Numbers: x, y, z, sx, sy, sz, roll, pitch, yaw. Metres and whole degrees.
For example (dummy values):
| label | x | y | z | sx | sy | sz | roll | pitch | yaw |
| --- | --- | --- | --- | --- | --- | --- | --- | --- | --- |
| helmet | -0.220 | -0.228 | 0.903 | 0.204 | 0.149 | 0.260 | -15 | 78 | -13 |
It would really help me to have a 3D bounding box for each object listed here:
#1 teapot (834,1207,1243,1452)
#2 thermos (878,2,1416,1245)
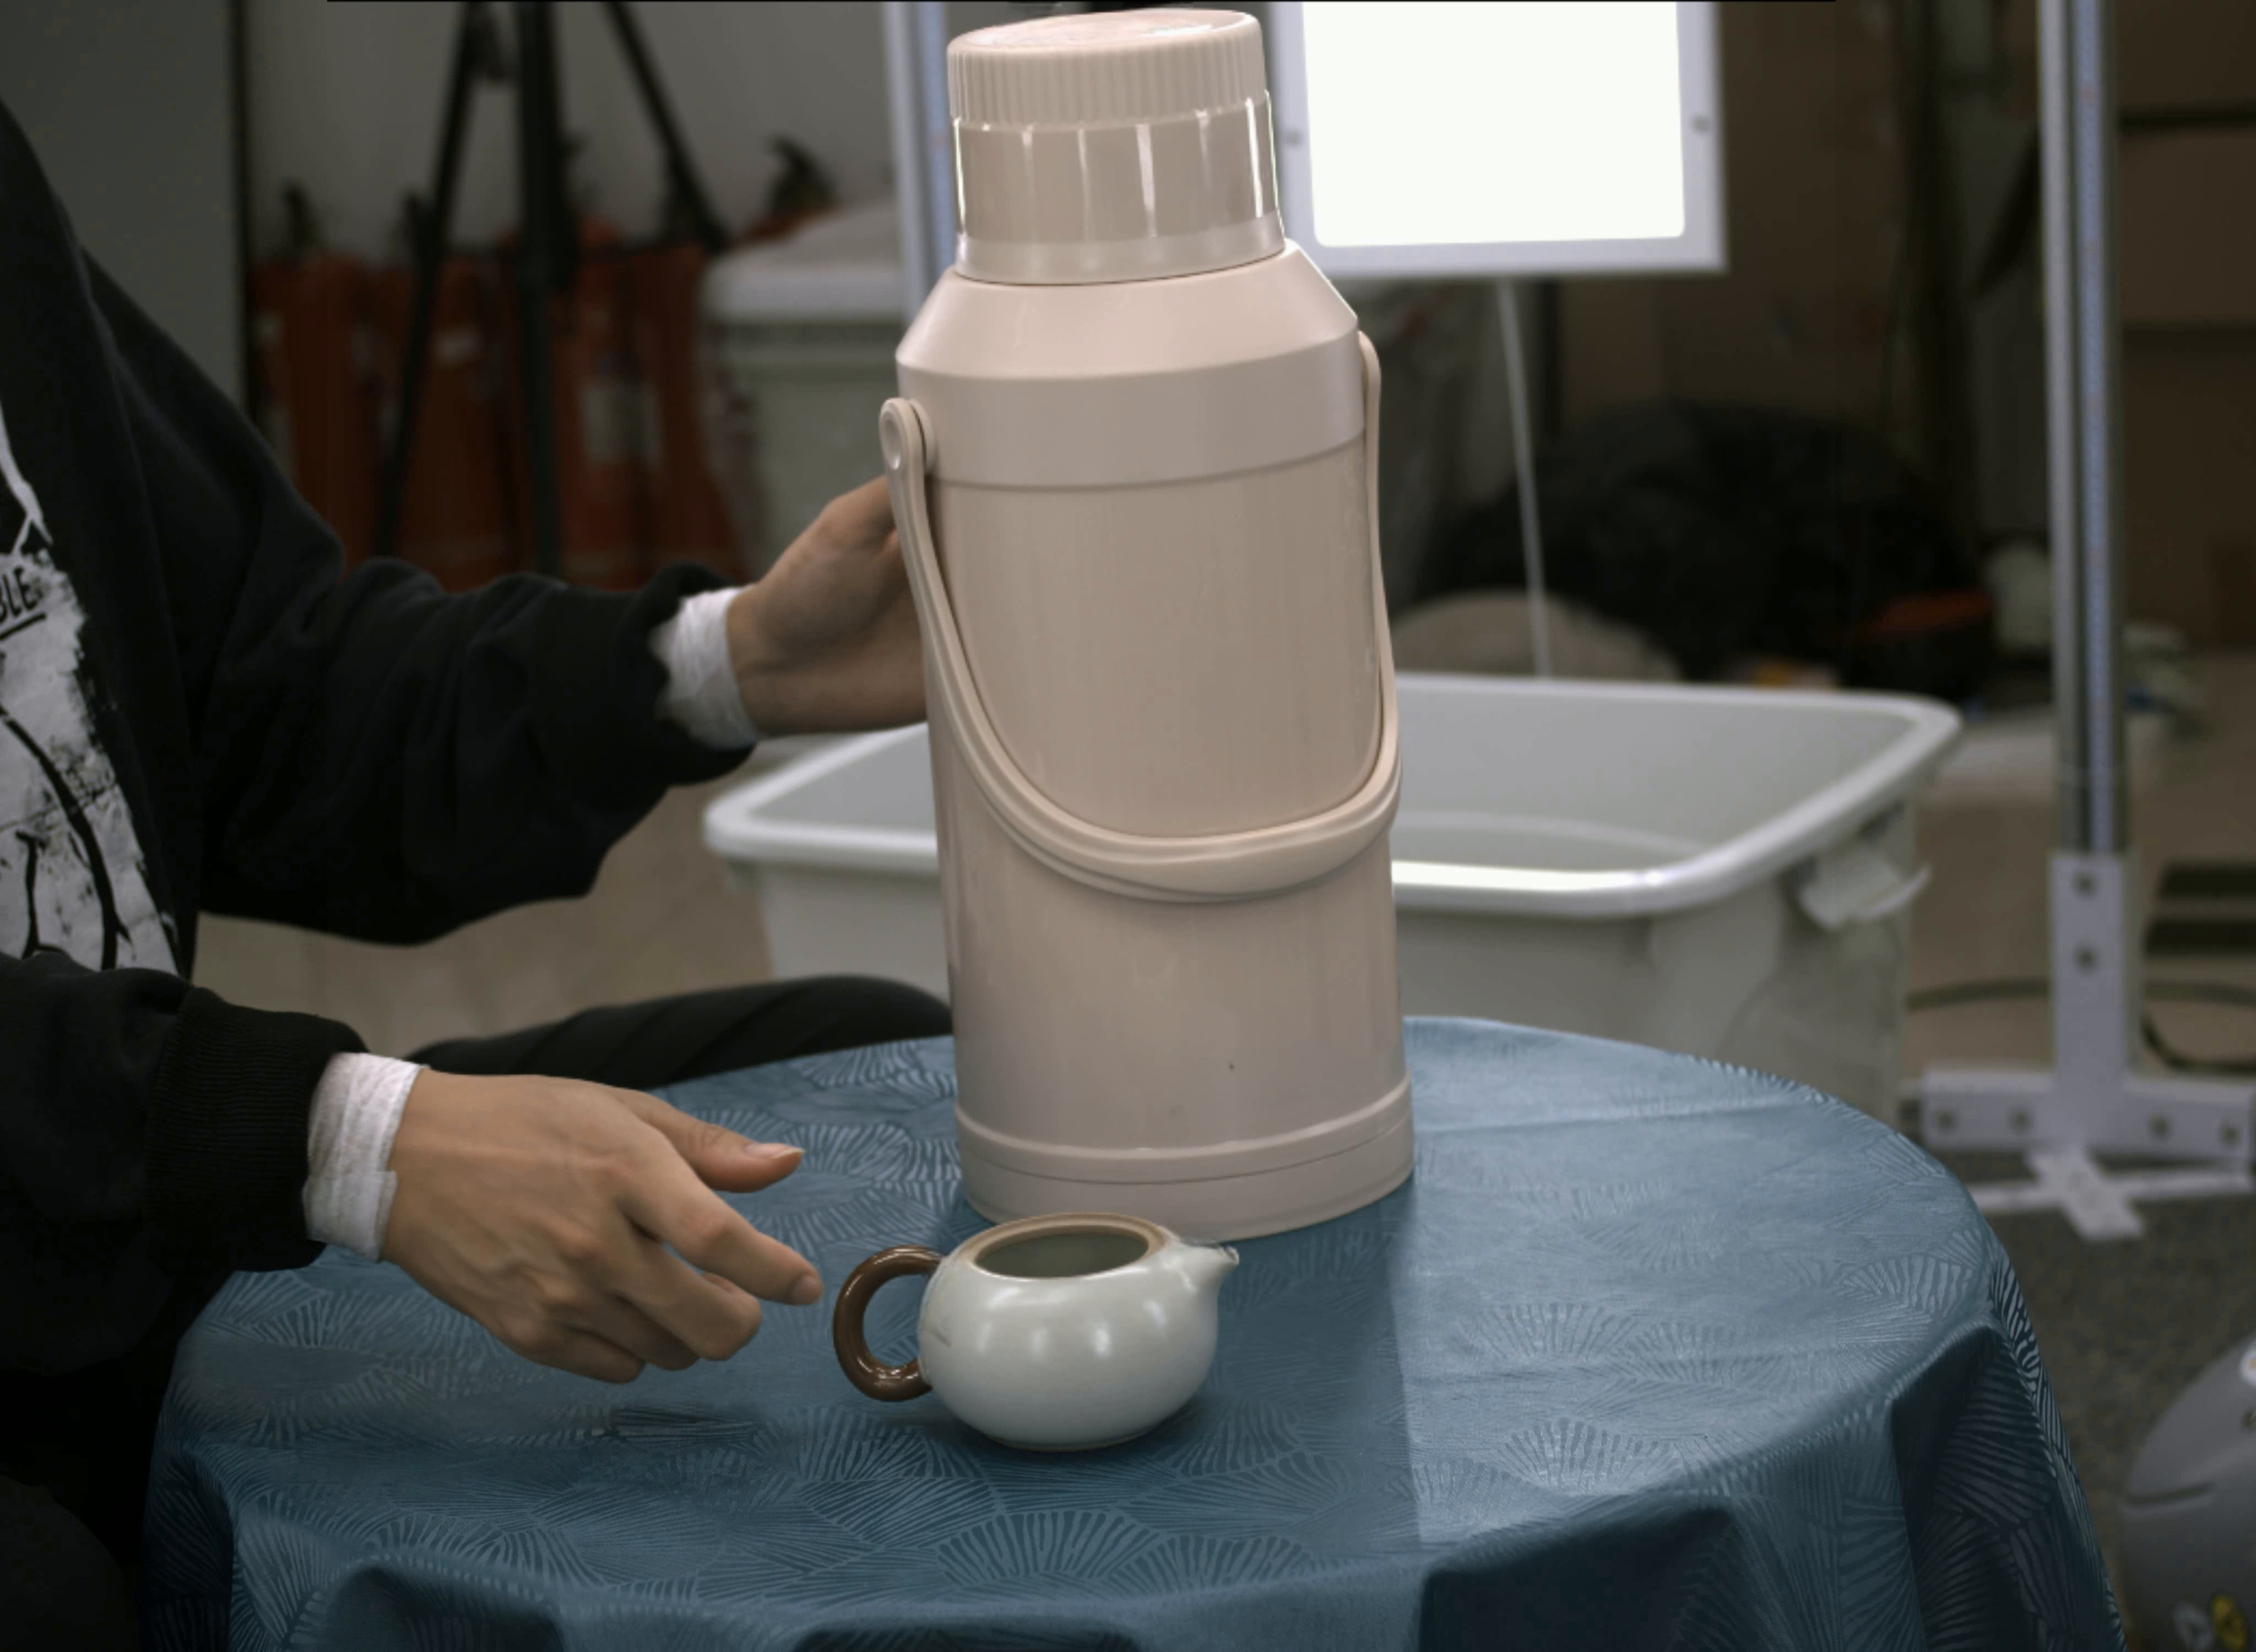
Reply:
| label | x | y | z | sx | sy | sz | roll | pitch | yaw |
| --- | --- | --- | --- | --- | --- | --- | --- | --- | --- |
| teapot | -0.027 | 0.153 | 1.677 | 0.129 | 0.060 | 0.091 | -1 | 19 | 10 |
| thermos | 0.002 | -0.073 | 1.879 | 0.172 | 0.408 | 0.210 | -12 | 16 | -22 |
